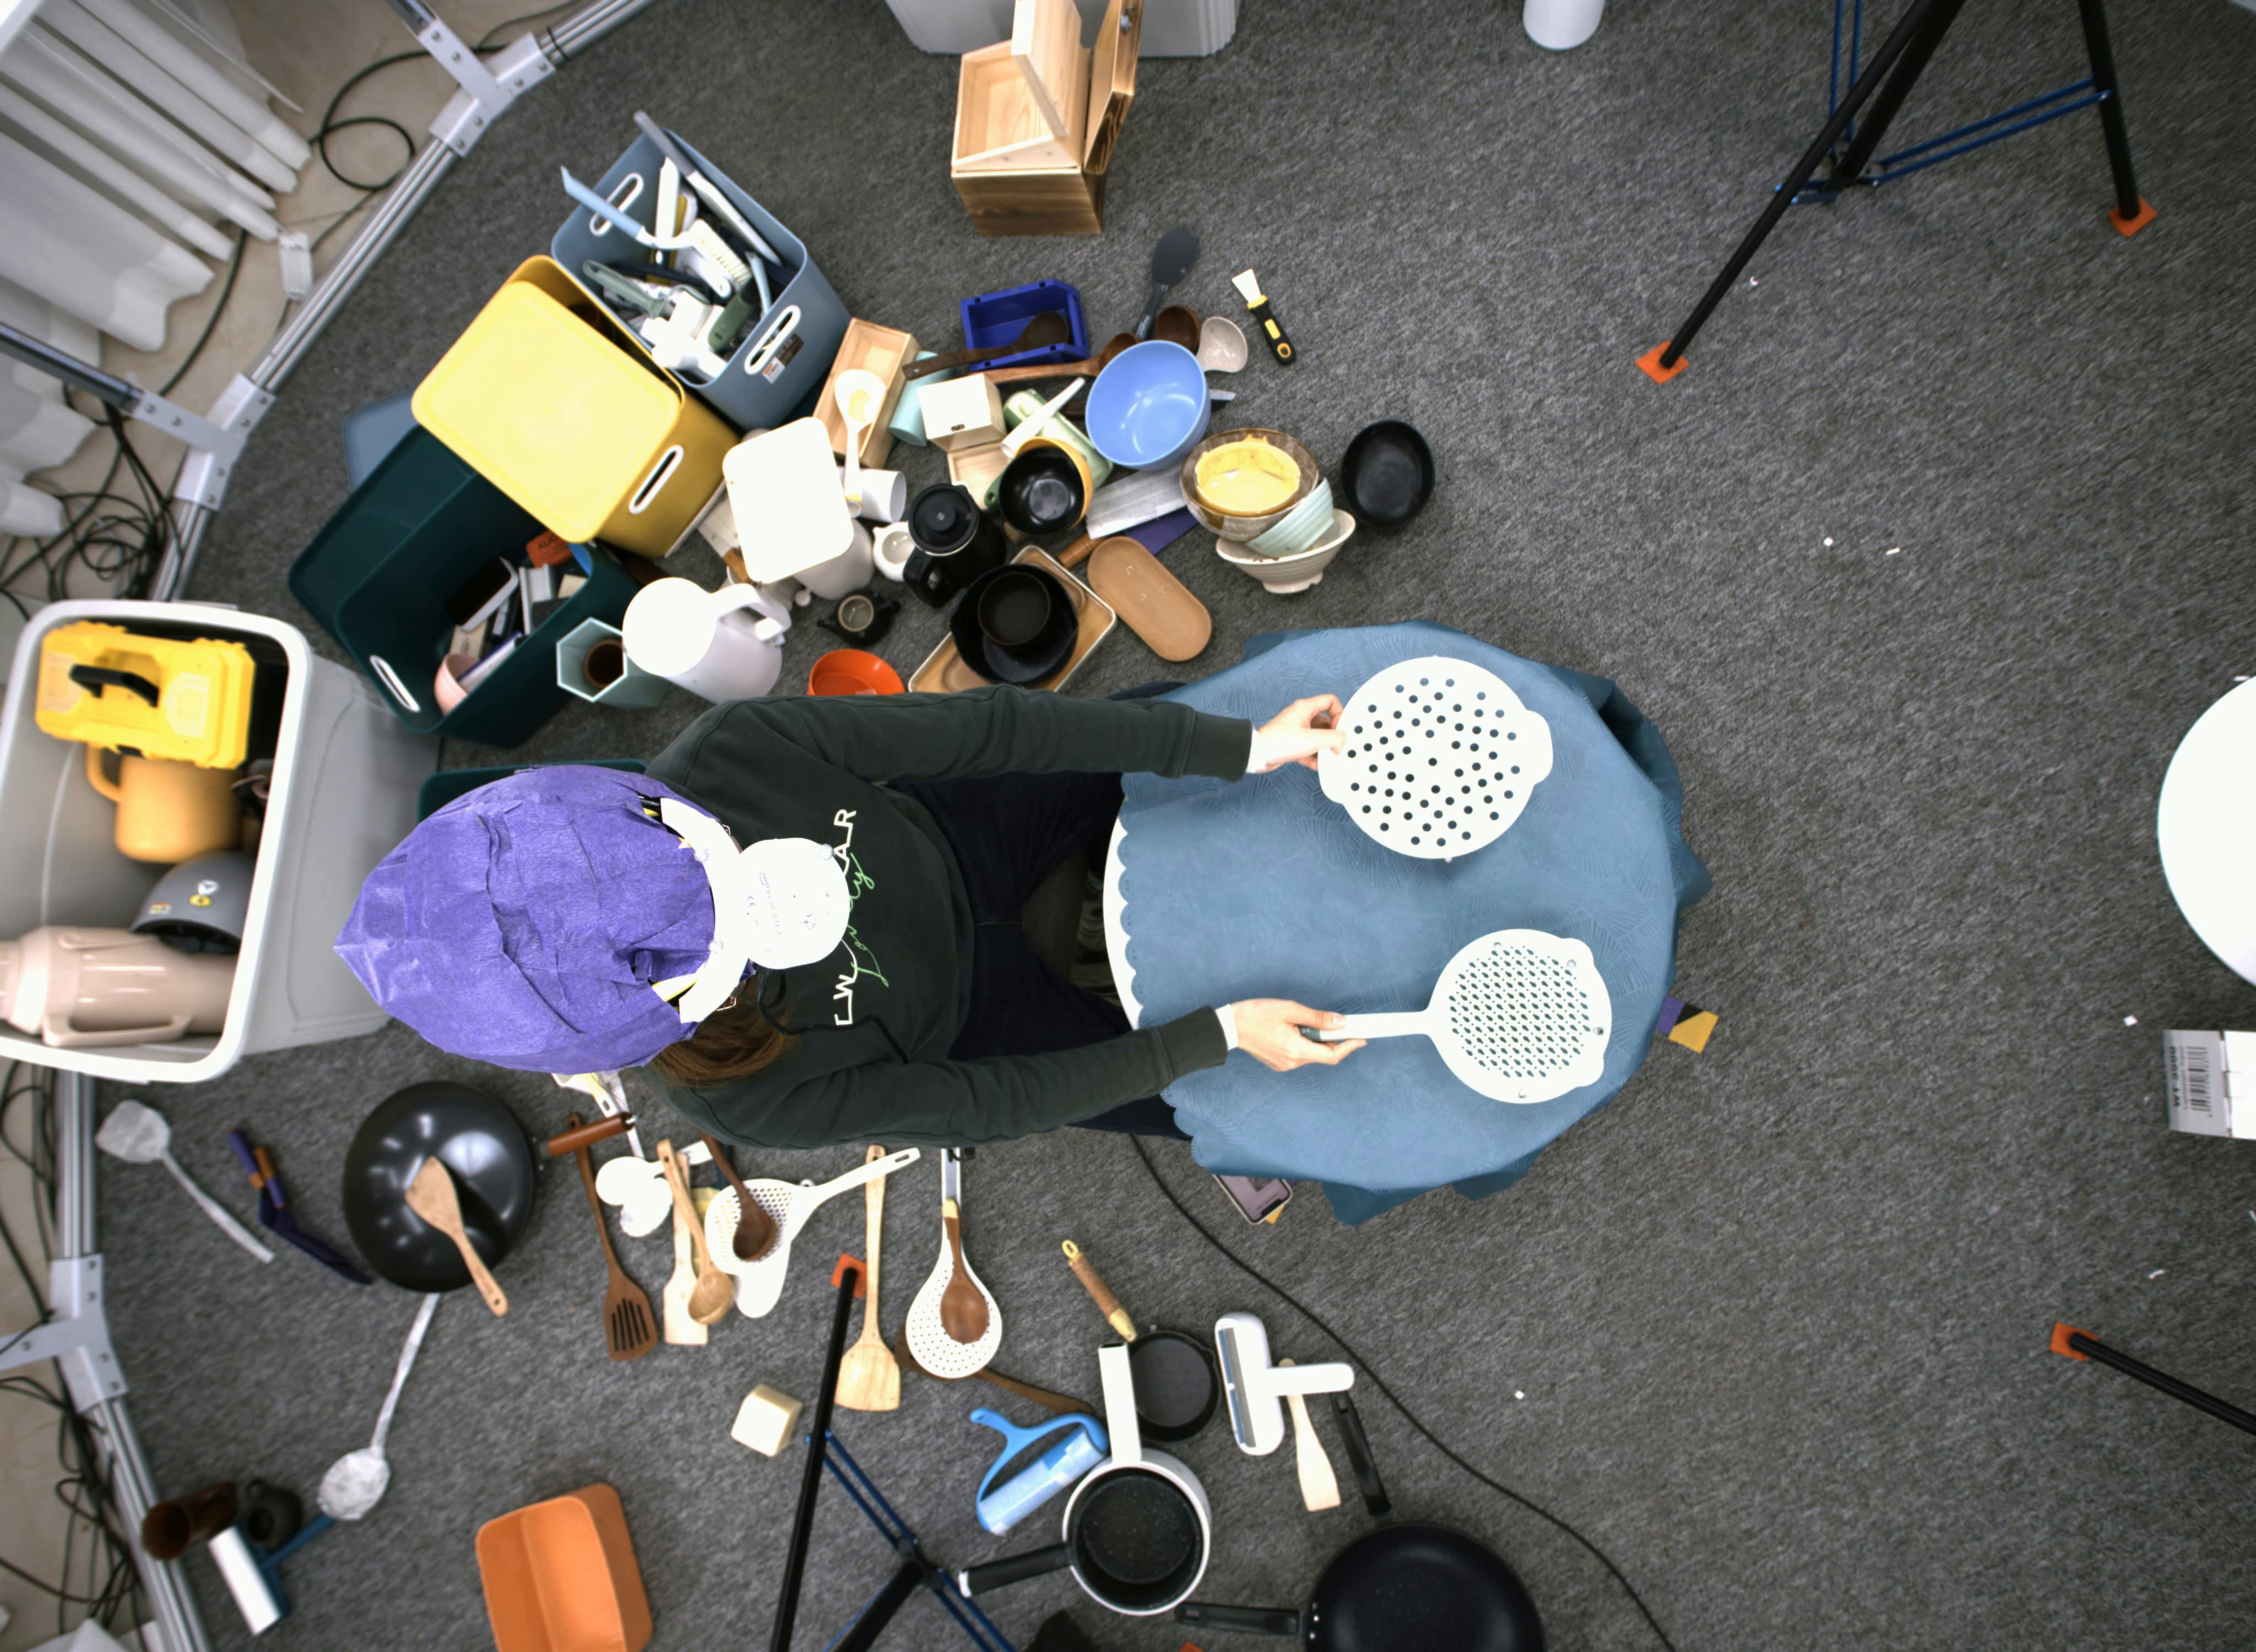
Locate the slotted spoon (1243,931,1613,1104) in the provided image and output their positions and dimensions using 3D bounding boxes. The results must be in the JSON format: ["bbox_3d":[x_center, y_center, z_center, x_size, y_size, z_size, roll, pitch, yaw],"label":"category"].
[{"bbox_3d":[0.294,0.195,1.382,0.360,0.075,0.168,-5,87,6],"label":"slotted spoon"}]

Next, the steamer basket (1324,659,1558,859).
[{"bbox_3d":[0.318,-0.068,1.402,0.232,0.069,0.201,-7,88,13],"label":"steamer basket"}]
